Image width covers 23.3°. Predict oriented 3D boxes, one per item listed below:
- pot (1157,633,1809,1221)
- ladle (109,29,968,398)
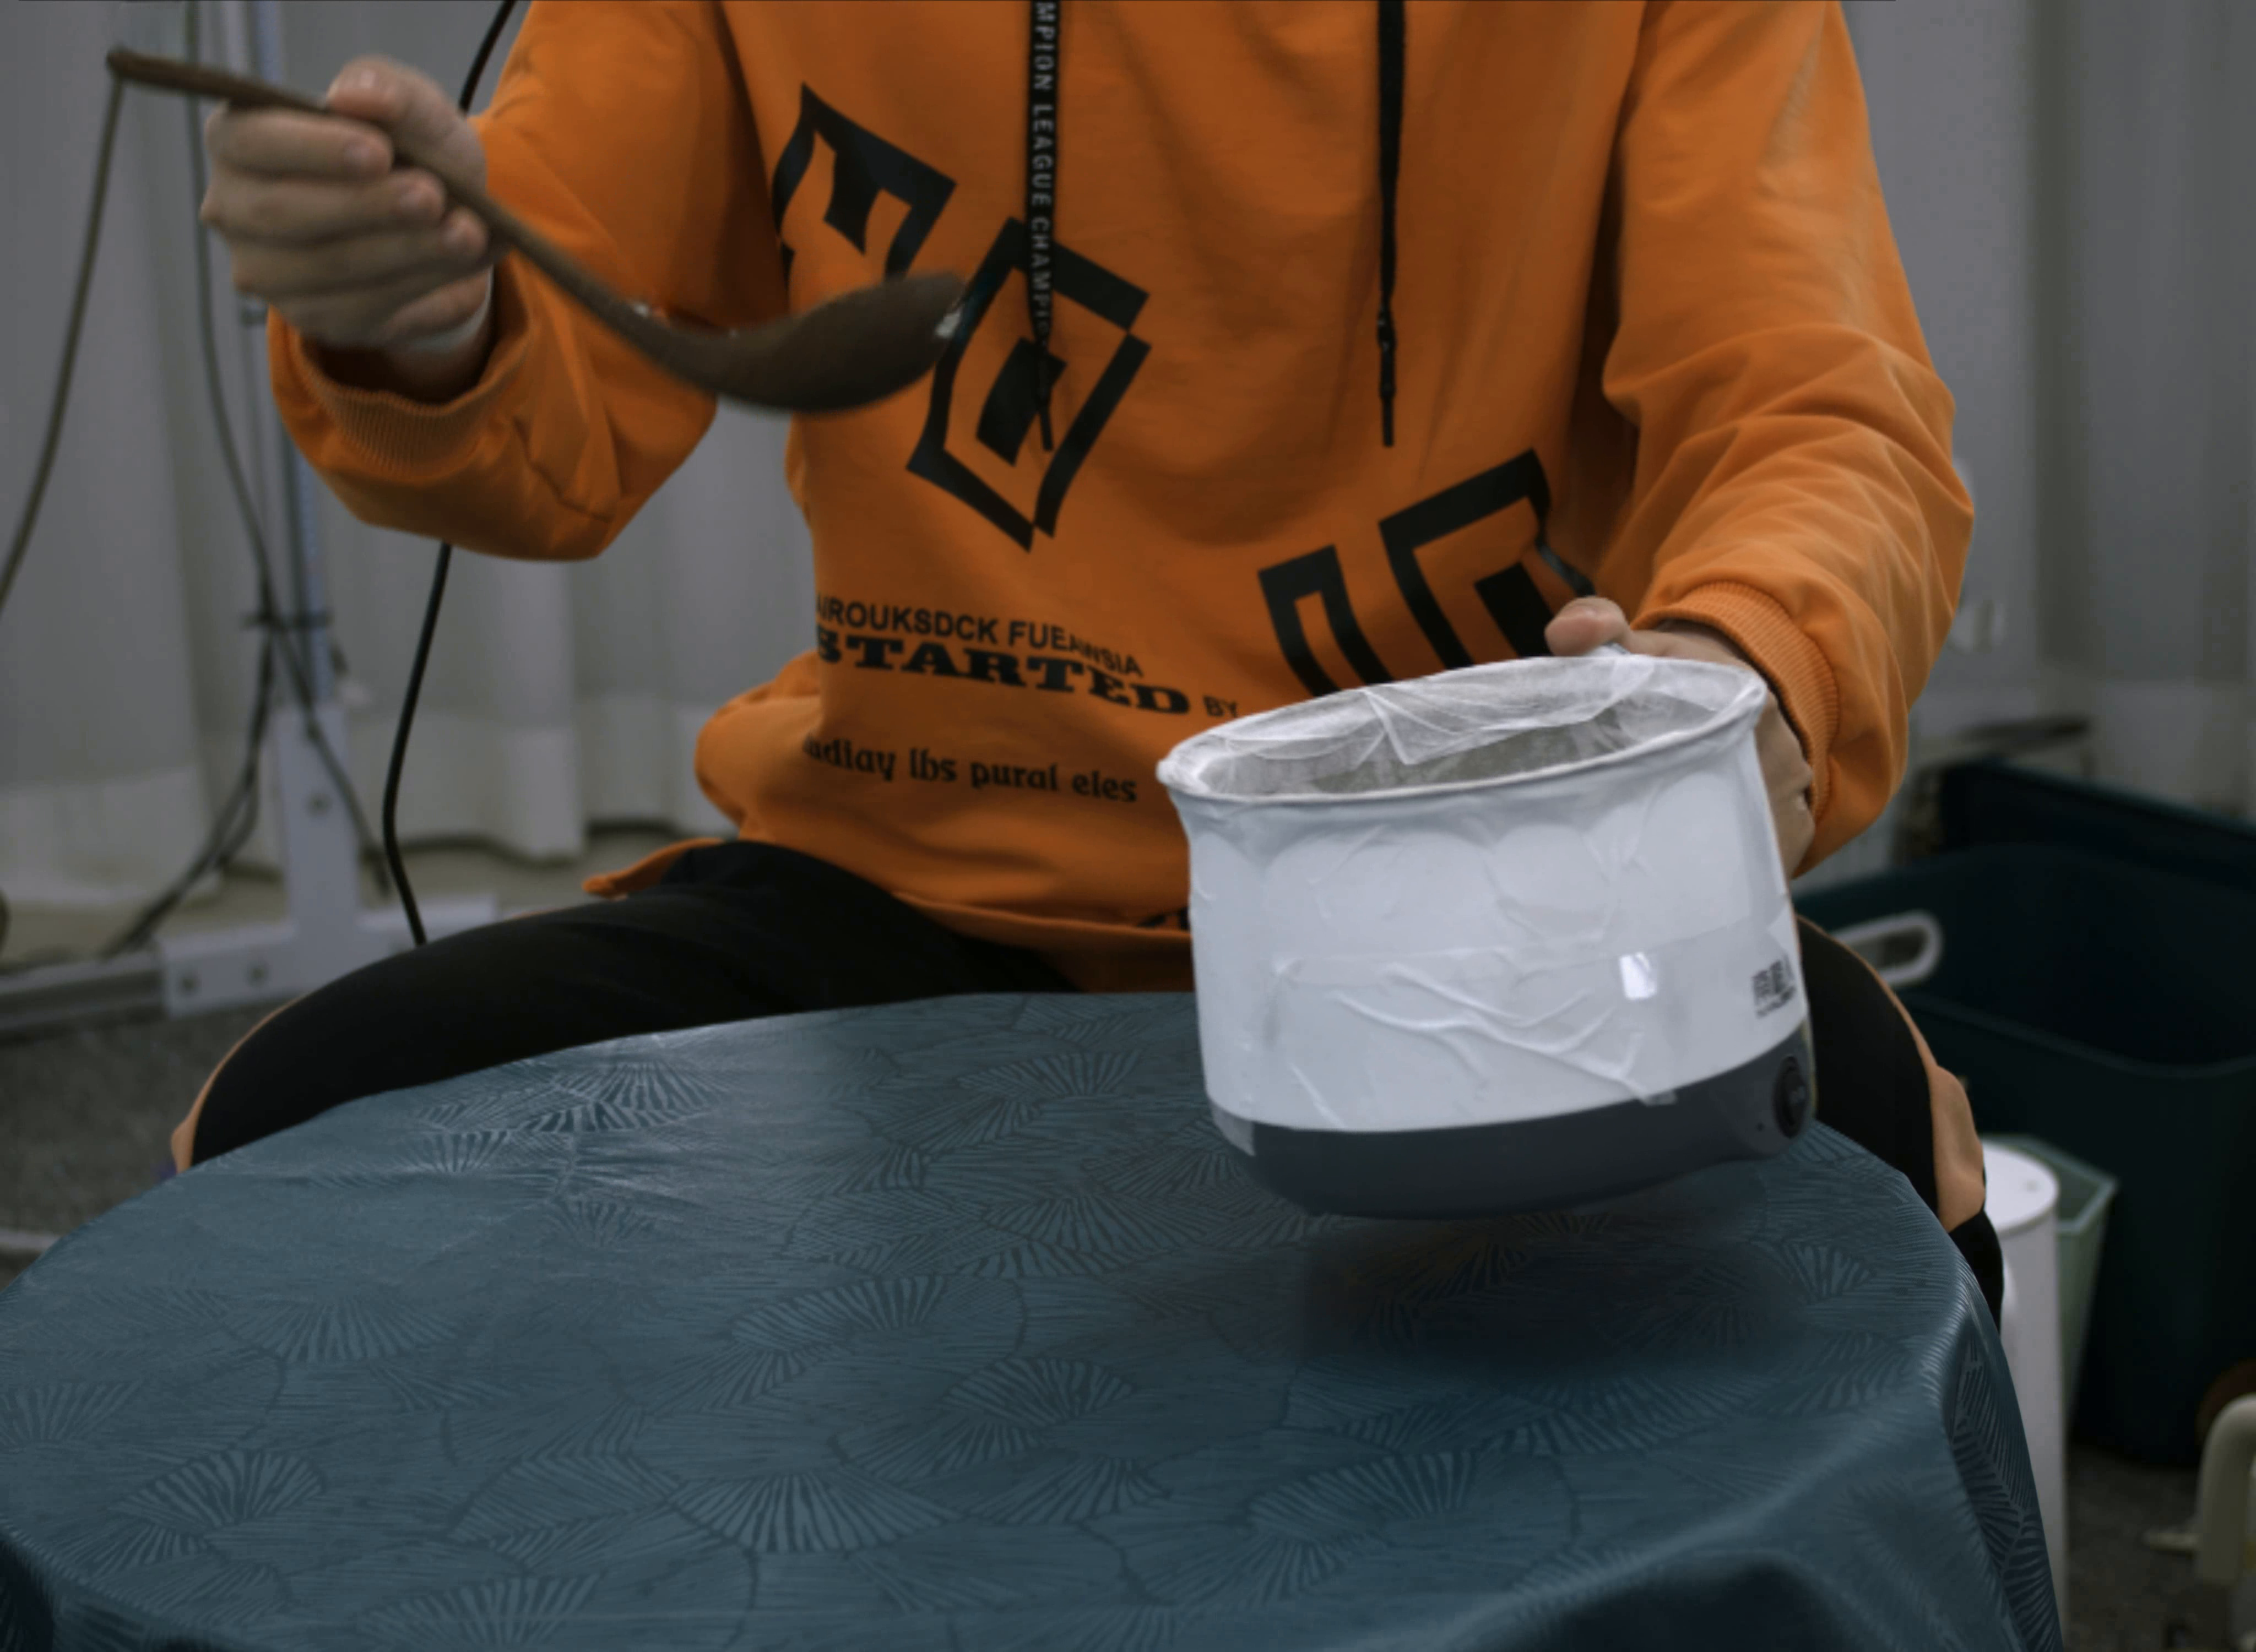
[{"bbox_3d":[0.116,0.025,1.612,0.179,0.136,0.234,-2,13,28],"label":"pot"},{"bbox_3d":[-0.176,-0.202,1.641,0.275,0.071,0.075,29,0,13],"label":"ladle"}]
